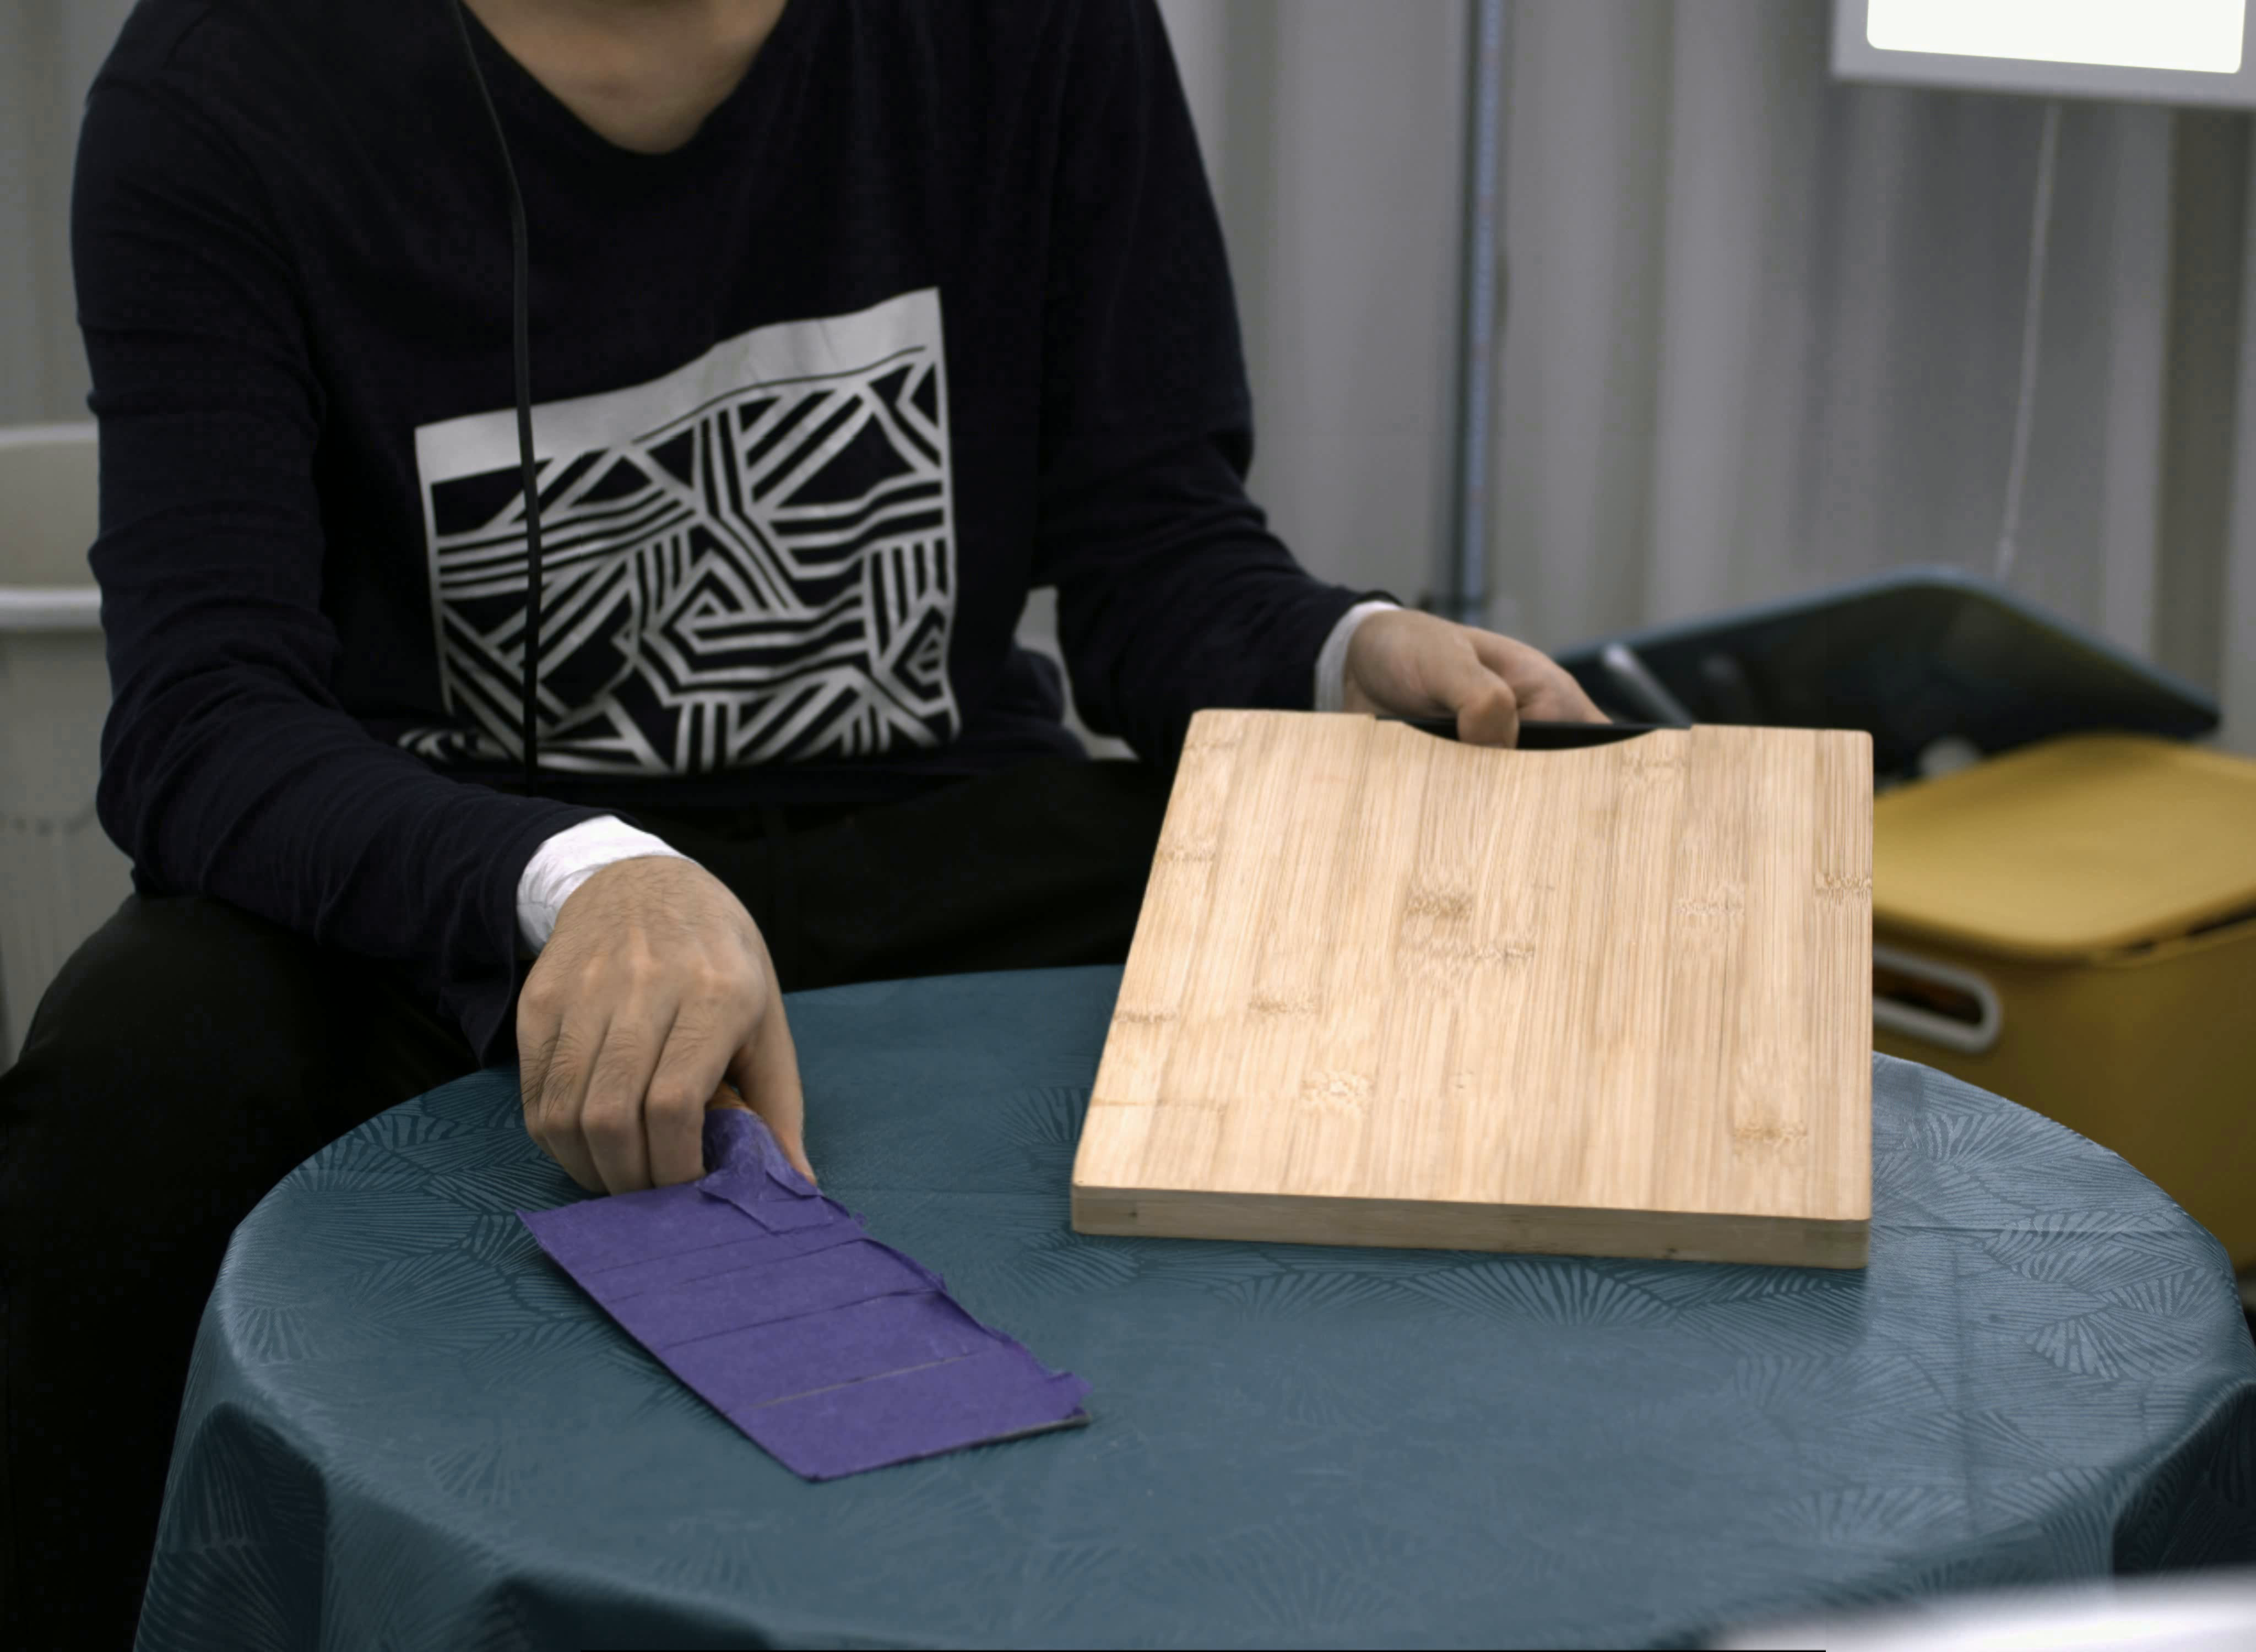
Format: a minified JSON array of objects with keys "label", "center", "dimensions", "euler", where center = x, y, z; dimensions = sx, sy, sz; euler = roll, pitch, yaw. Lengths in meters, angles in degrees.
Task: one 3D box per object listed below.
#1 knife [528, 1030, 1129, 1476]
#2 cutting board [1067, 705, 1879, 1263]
[{"label":"knife","center":[-0.117,0.120,1.540],"dimensions":[0.104,0.032,0.311],"euler":[-9,18,-28]},{"label":"cutting board","center":[0.123,0.044,1.725],"dimensions":[0.249,0.024,0.346],"euler":[2,26,6]}]
